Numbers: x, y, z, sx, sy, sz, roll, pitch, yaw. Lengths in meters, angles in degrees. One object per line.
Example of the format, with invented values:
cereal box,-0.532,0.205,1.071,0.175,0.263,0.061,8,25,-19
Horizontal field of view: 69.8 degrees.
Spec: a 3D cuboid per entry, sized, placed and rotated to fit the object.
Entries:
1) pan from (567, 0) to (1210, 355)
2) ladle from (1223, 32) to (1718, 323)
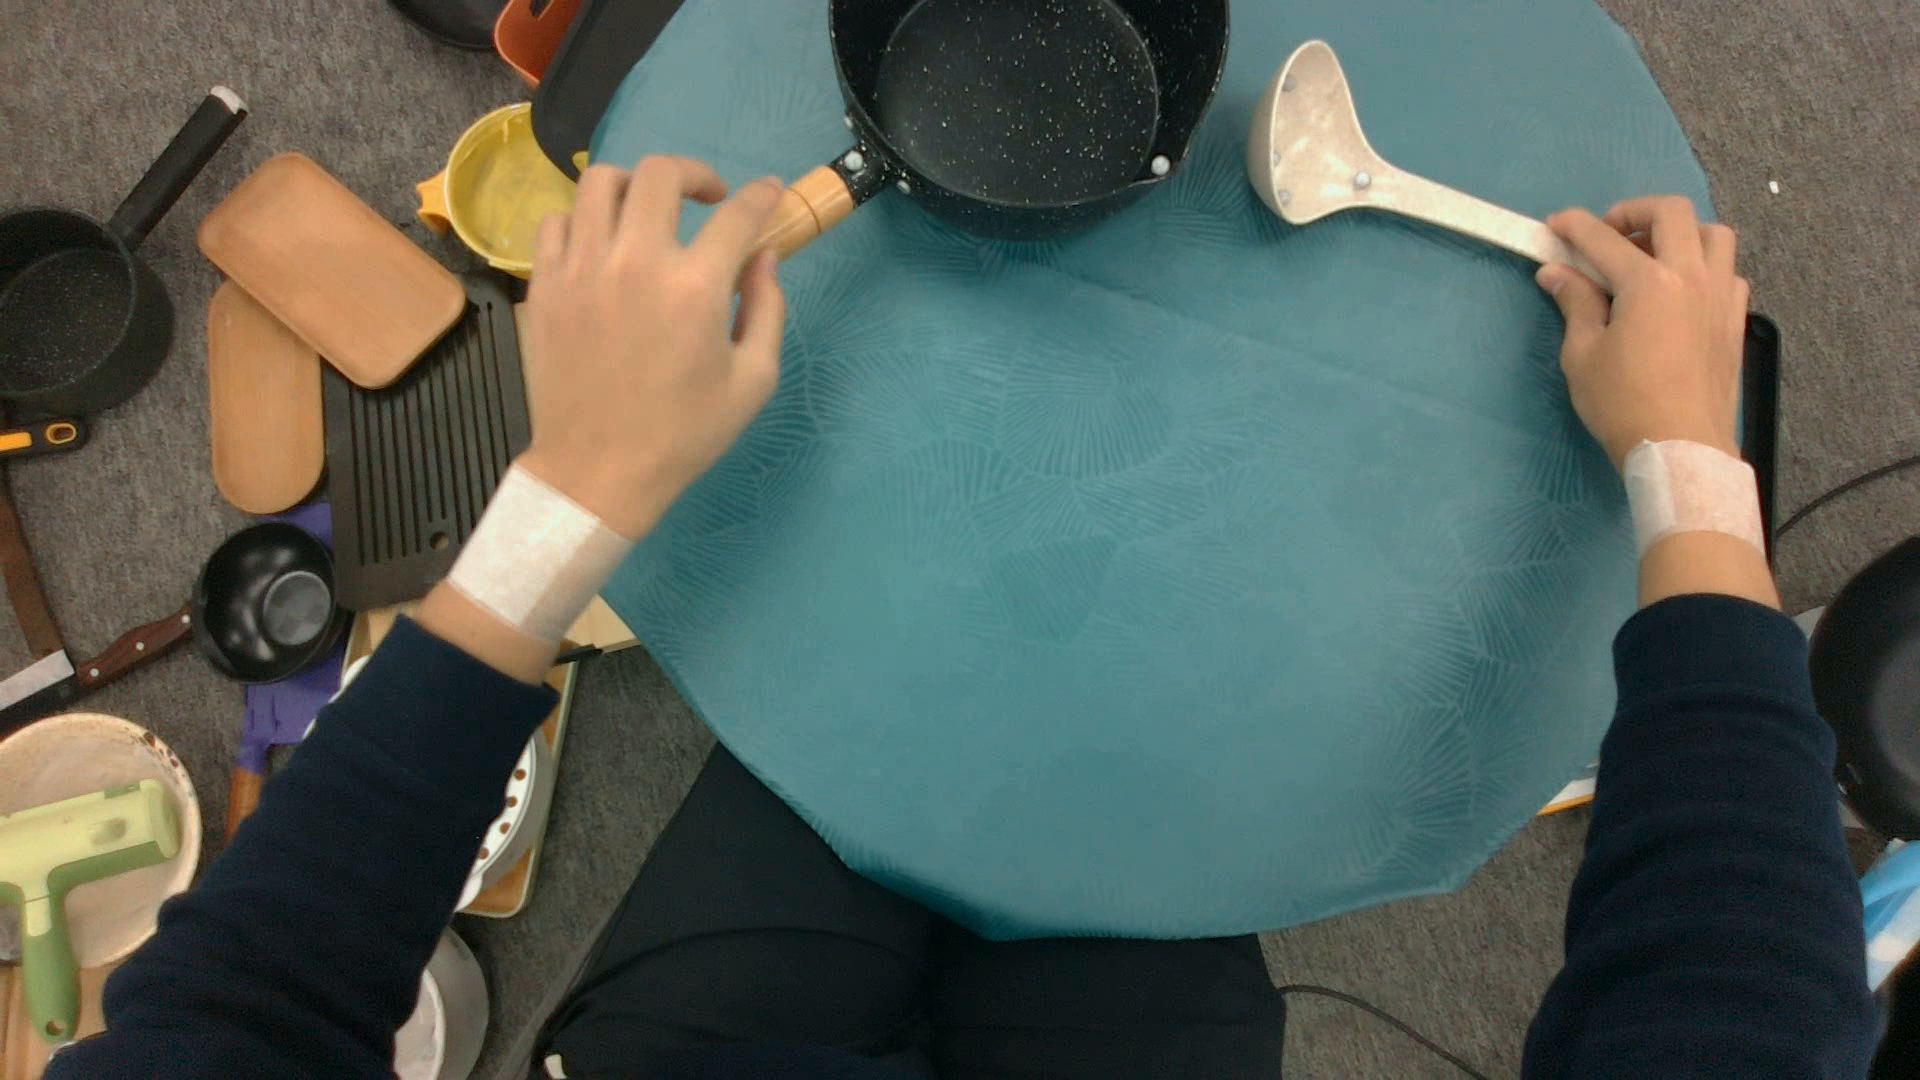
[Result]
pan,-0.036,-0.188,0.651,0.343,0.108,0.207,-43,86,-9
ladle,0.262,-0.171,0.680,0.275,0.069,0.089,19,72,1
